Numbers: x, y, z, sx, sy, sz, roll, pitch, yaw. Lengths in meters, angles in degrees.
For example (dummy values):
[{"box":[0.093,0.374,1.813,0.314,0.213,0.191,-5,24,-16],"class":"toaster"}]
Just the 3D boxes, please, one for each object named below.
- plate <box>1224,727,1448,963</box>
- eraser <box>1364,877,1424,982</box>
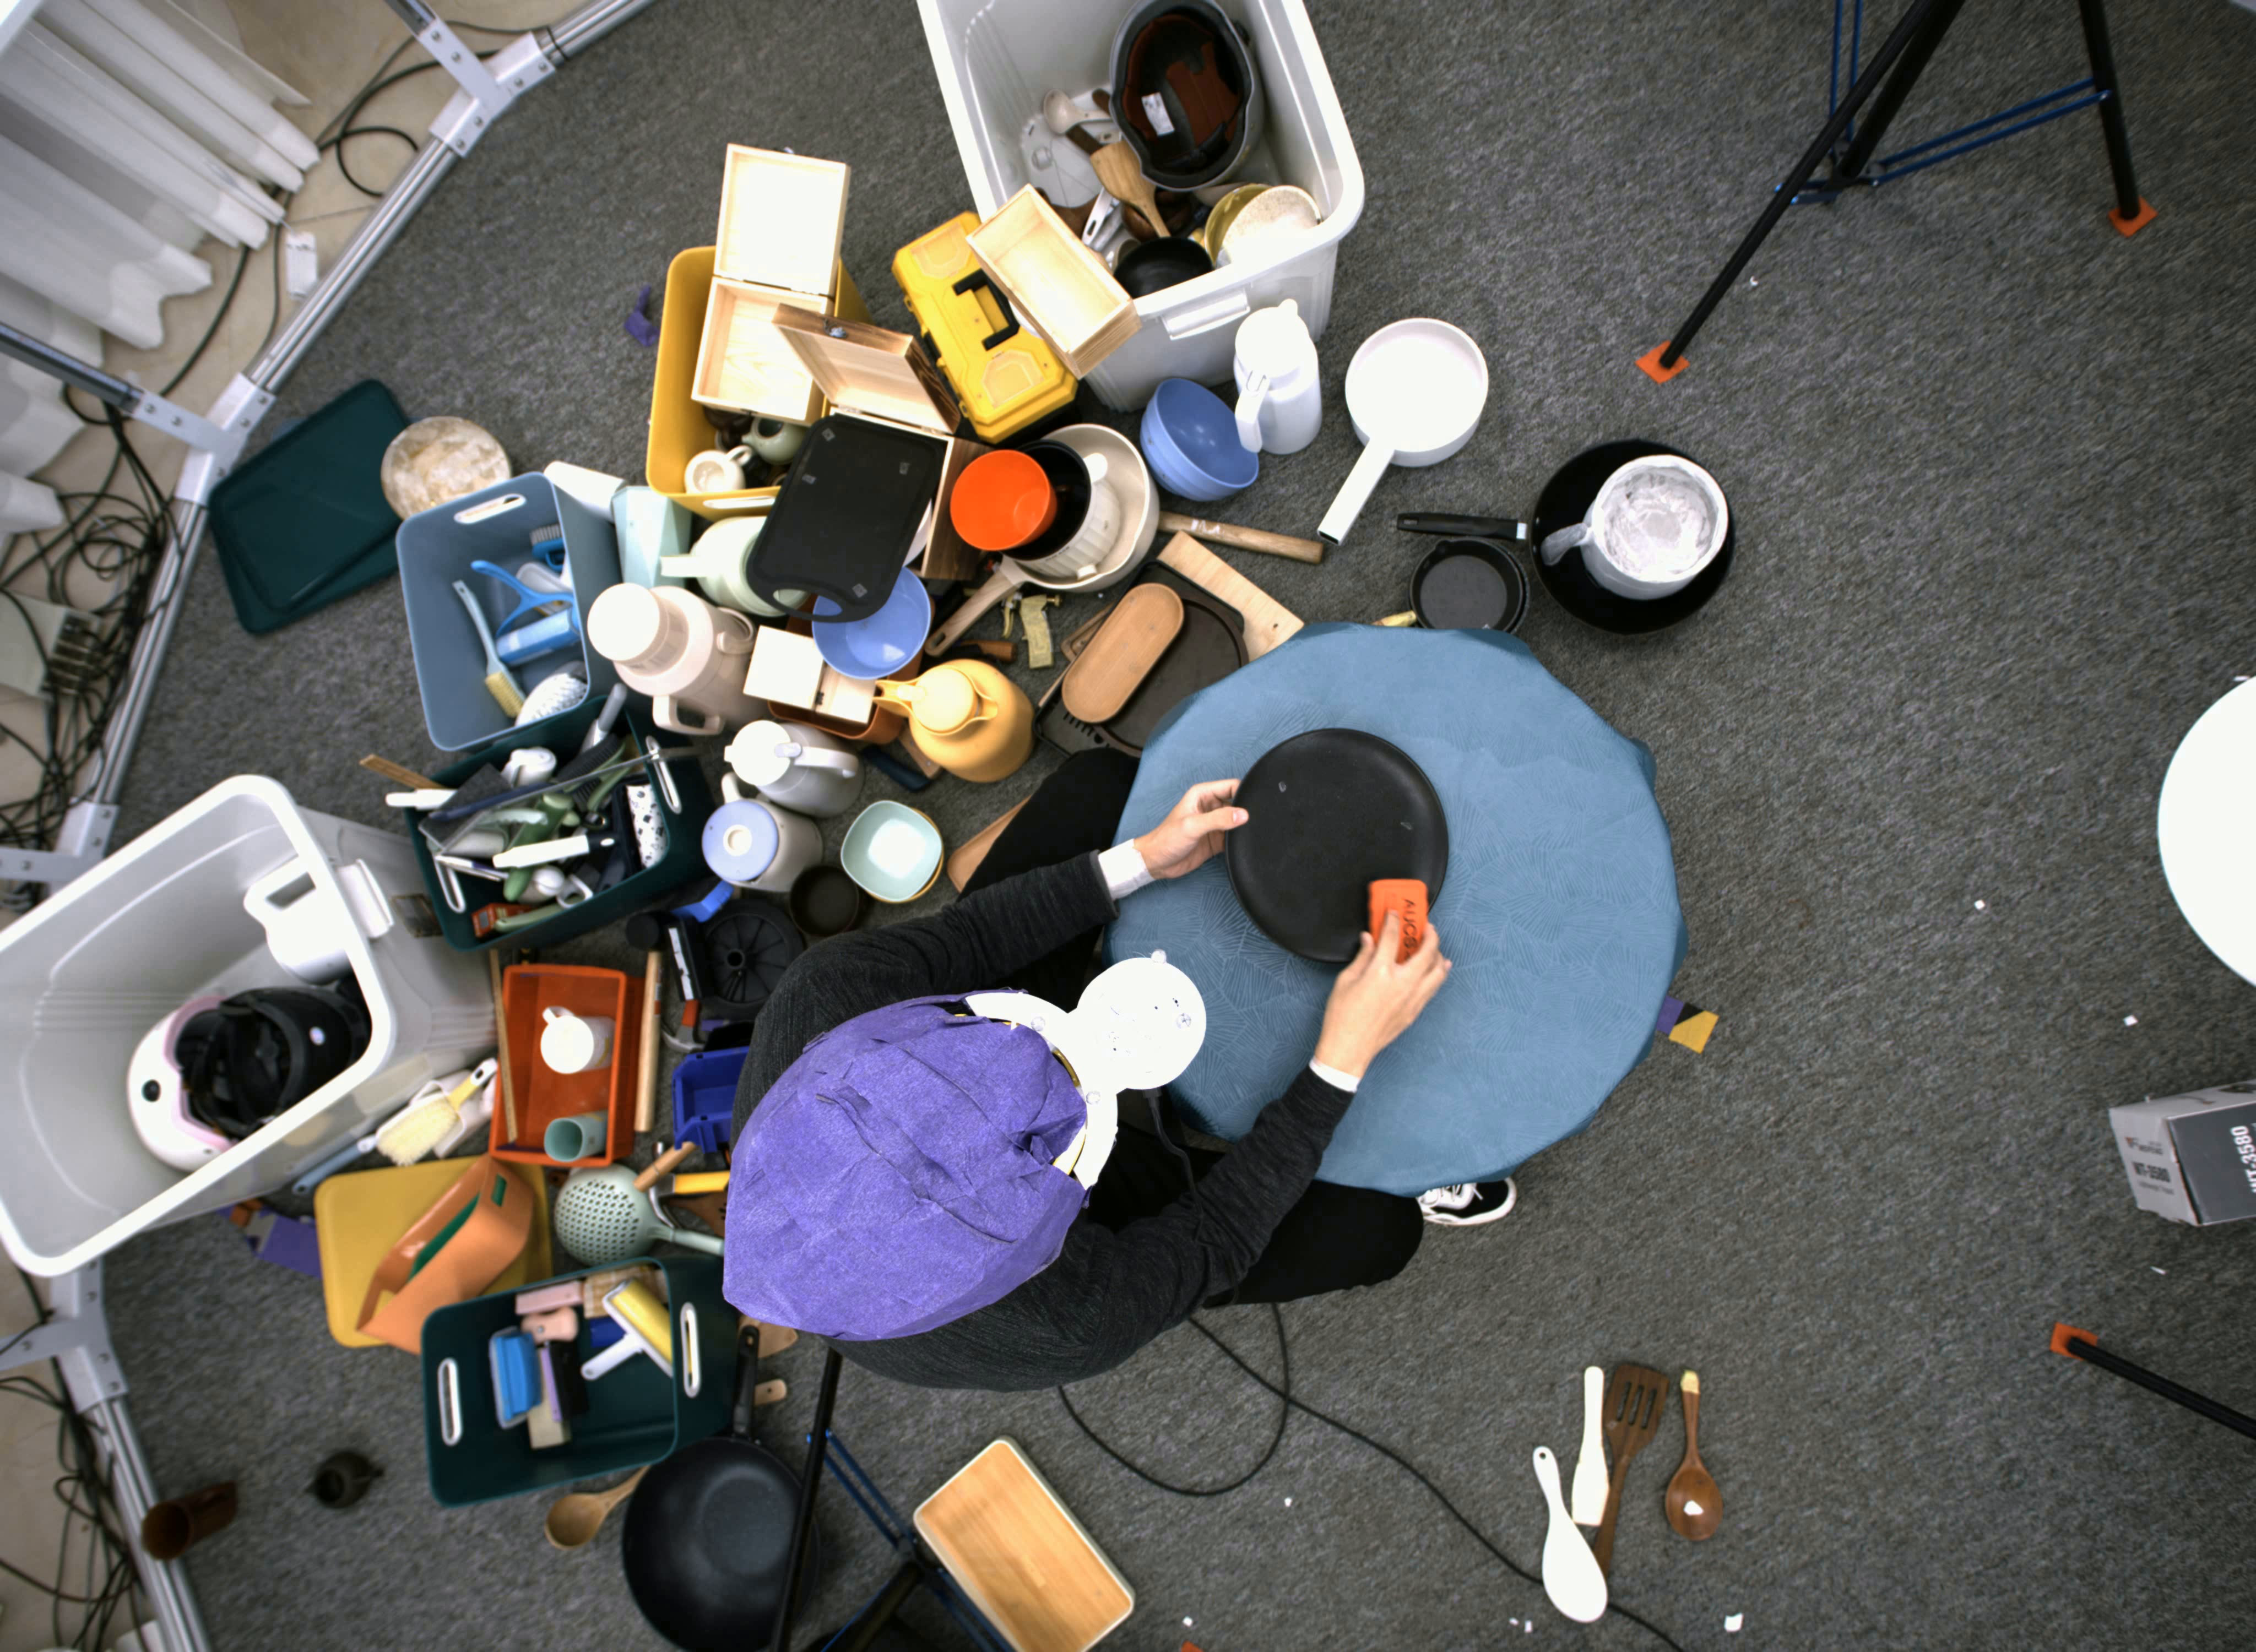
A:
[{"box":[0.214,0.018,1.430,0.244,0.023,0.244,0,93,-10],"class":"plate"},{"box":[0.274,0.105,1.423,0.059,0.023,0.107,0,86,0],"class":"eraser"}]
